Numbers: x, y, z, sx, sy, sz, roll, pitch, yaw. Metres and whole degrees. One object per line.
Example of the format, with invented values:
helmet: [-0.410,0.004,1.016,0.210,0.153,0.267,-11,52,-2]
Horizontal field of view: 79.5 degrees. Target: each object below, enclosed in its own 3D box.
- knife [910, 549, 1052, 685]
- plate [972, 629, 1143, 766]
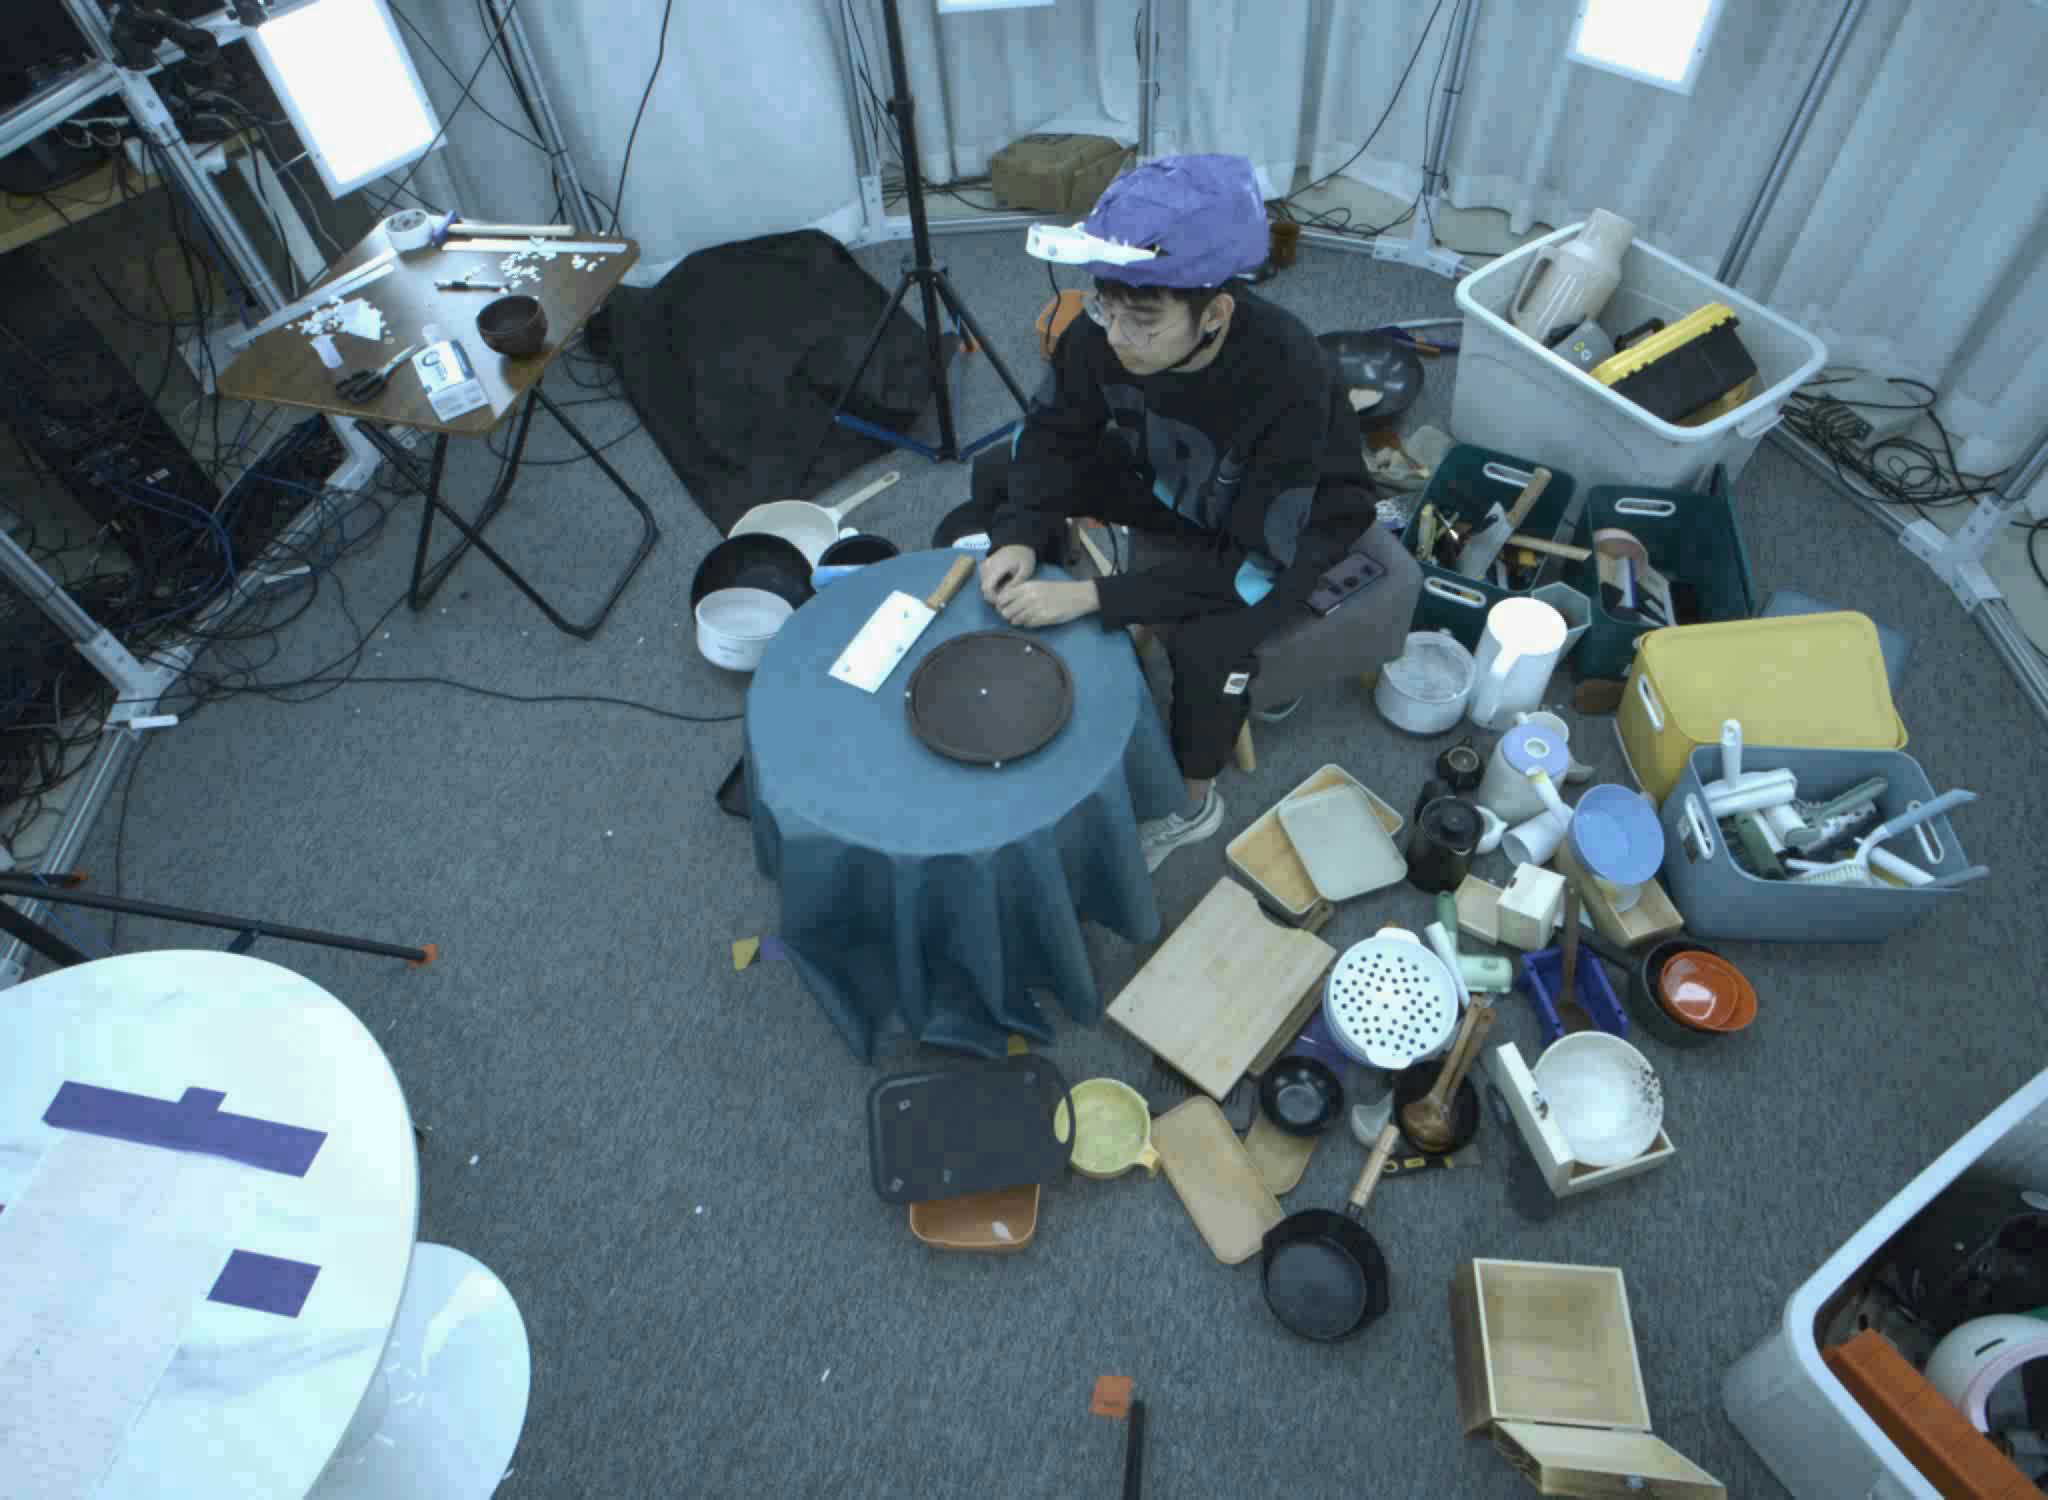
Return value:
knife: [-0.071,-0.221,1.937,0.091,0.021,0.307,28,63,22]
plate: [0.050,-0.080,1.826,0.254,0.029,0.252,-2,54,3]
